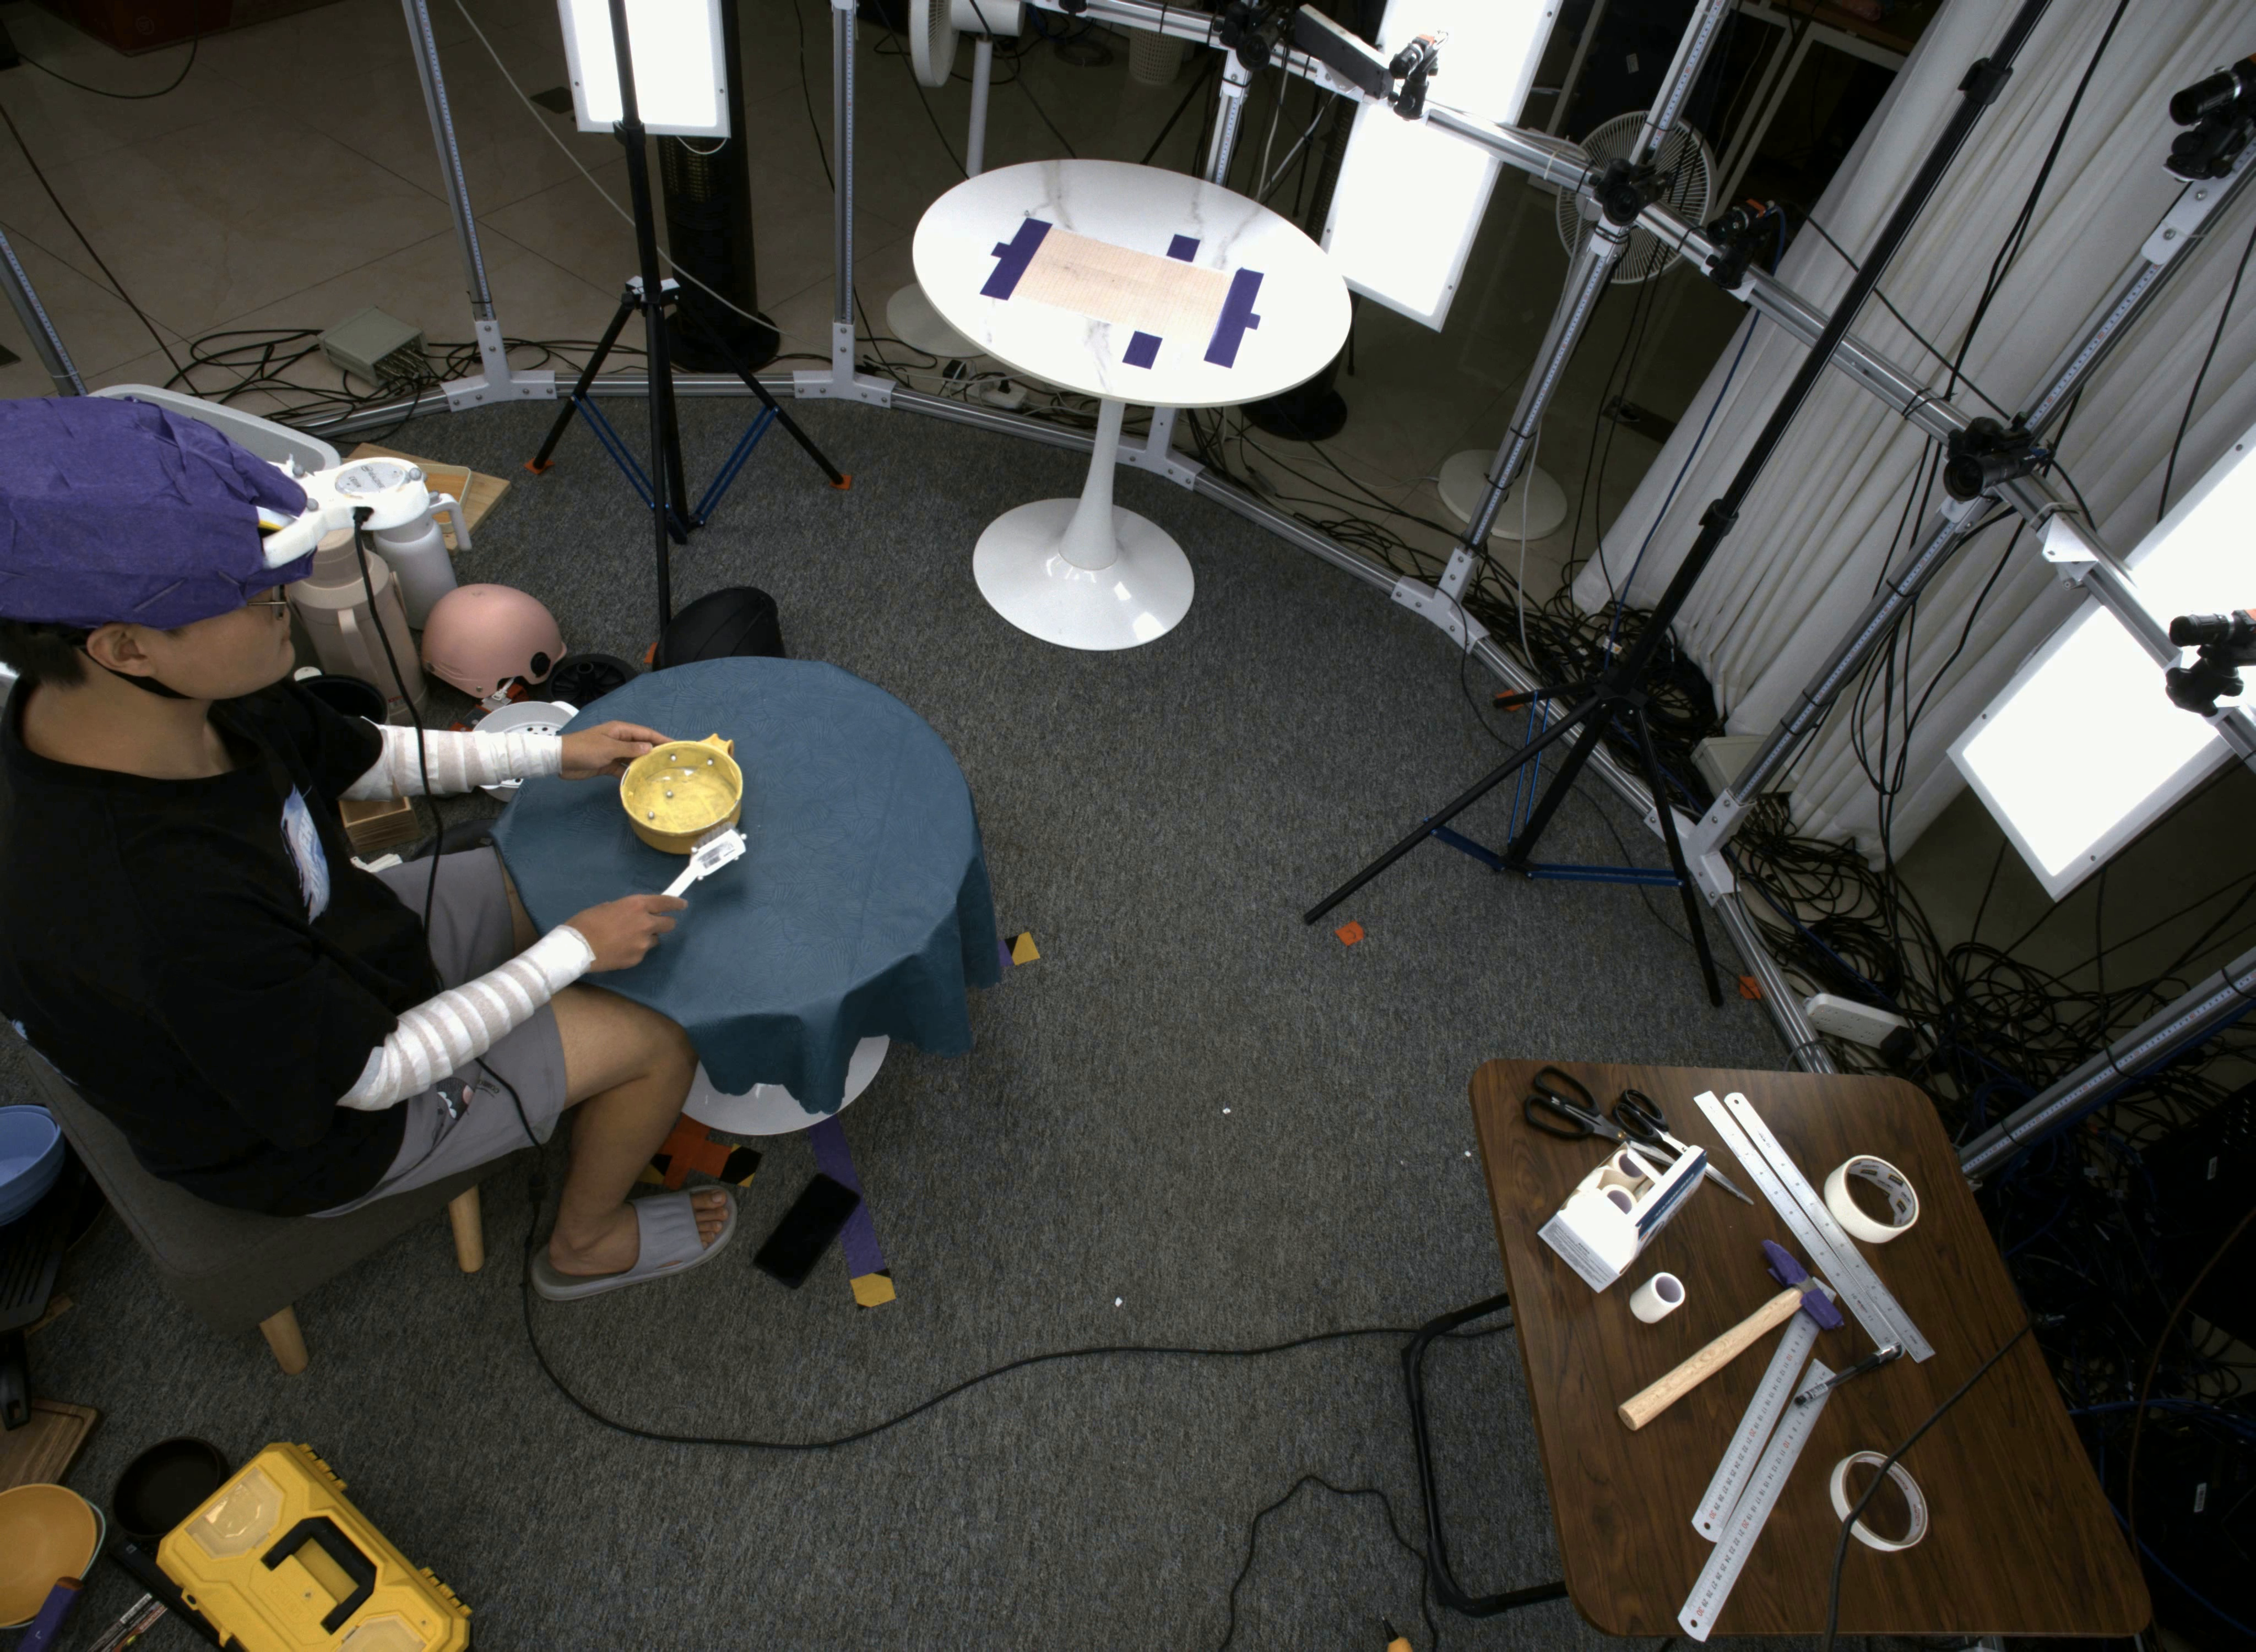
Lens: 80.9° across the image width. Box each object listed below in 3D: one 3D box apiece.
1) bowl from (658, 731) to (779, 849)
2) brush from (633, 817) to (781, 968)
[{"bbox_3d":[-0.527,-0.049,1.701,0.150,0.076,0.177,19,51,7],"label":"bowl"},{"bbox_3d":[-0.524,0.077,1.592,0.048,0.036,0.243,20,57,43],"label":"brush"}]
